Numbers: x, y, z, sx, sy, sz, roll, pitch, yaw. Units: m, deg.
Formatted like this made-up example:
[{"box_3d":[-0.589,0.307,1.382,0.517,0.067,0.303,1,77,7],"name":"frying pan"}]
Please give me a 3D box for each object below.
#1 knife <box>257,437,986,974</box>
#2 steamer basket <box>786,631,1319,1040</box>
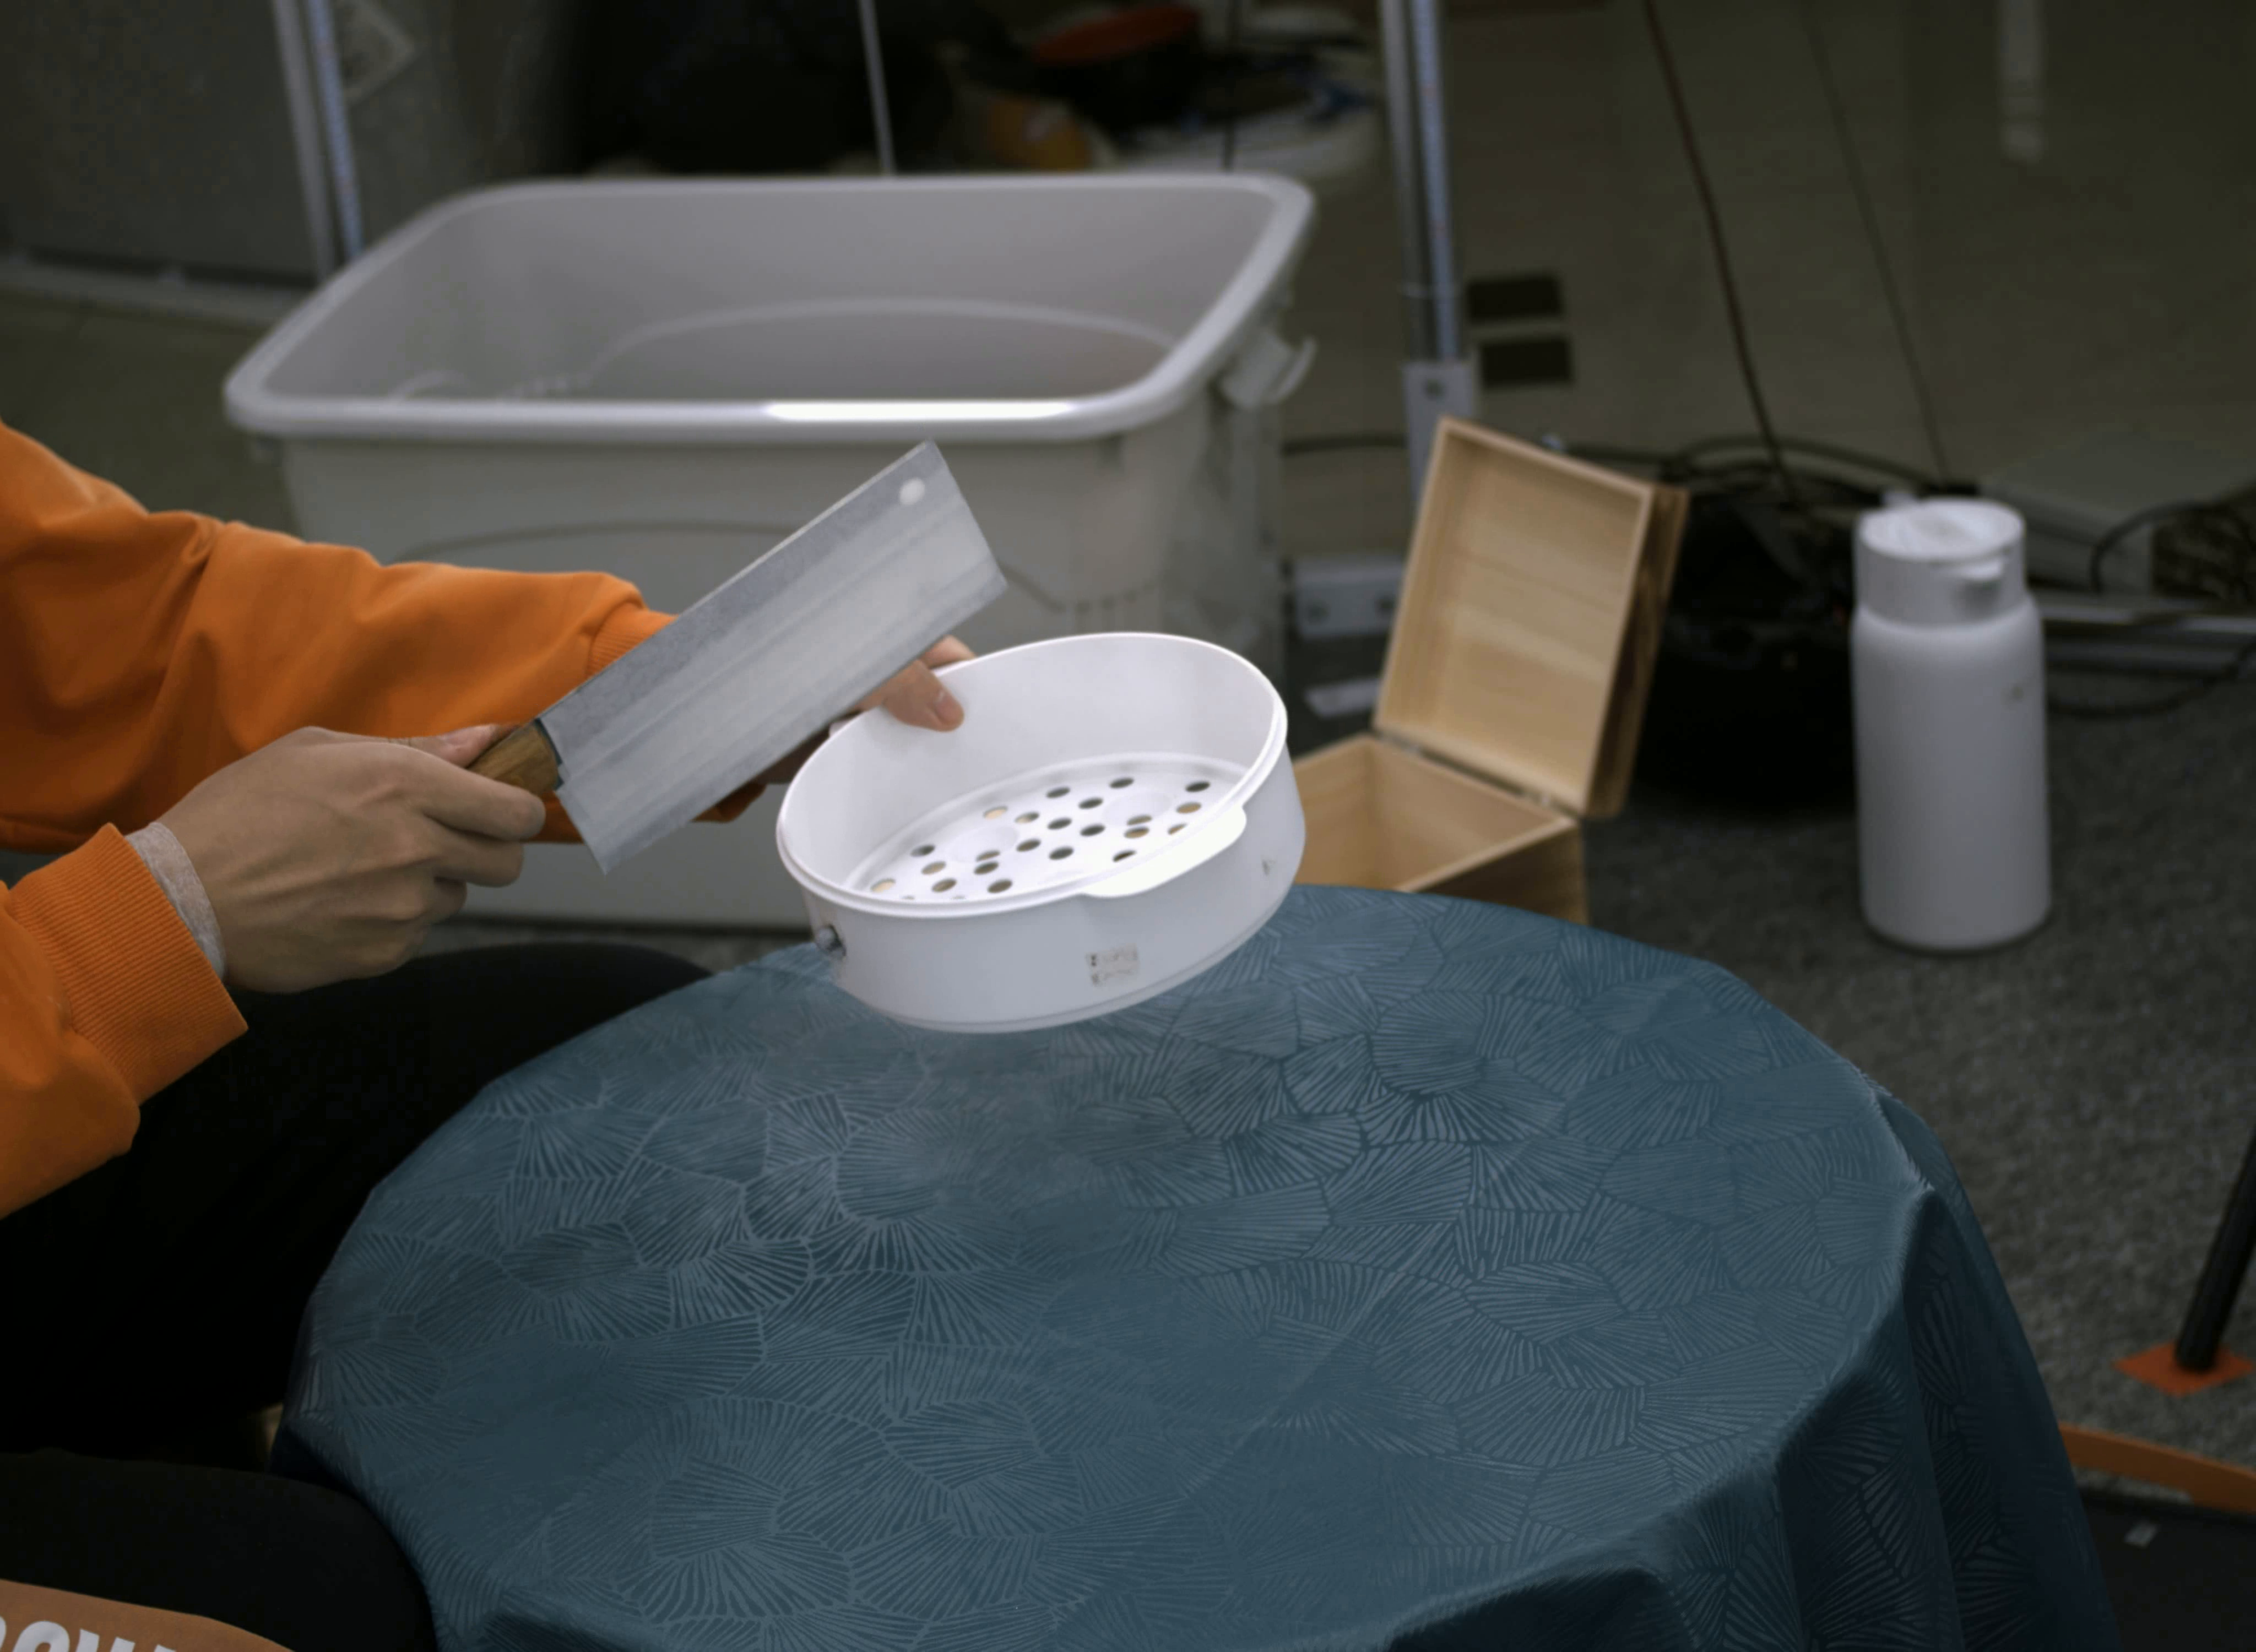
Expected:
[{"box_3d":[-0.181,-0.031,2.095,0.305,0.094,0.020,-36,49,-7],"name":"knife"},{"box_3d":[-0.026,0.004,2.157,0.200,0.070,0.228,-28,35,-23],"name":"steamer basket"}]
